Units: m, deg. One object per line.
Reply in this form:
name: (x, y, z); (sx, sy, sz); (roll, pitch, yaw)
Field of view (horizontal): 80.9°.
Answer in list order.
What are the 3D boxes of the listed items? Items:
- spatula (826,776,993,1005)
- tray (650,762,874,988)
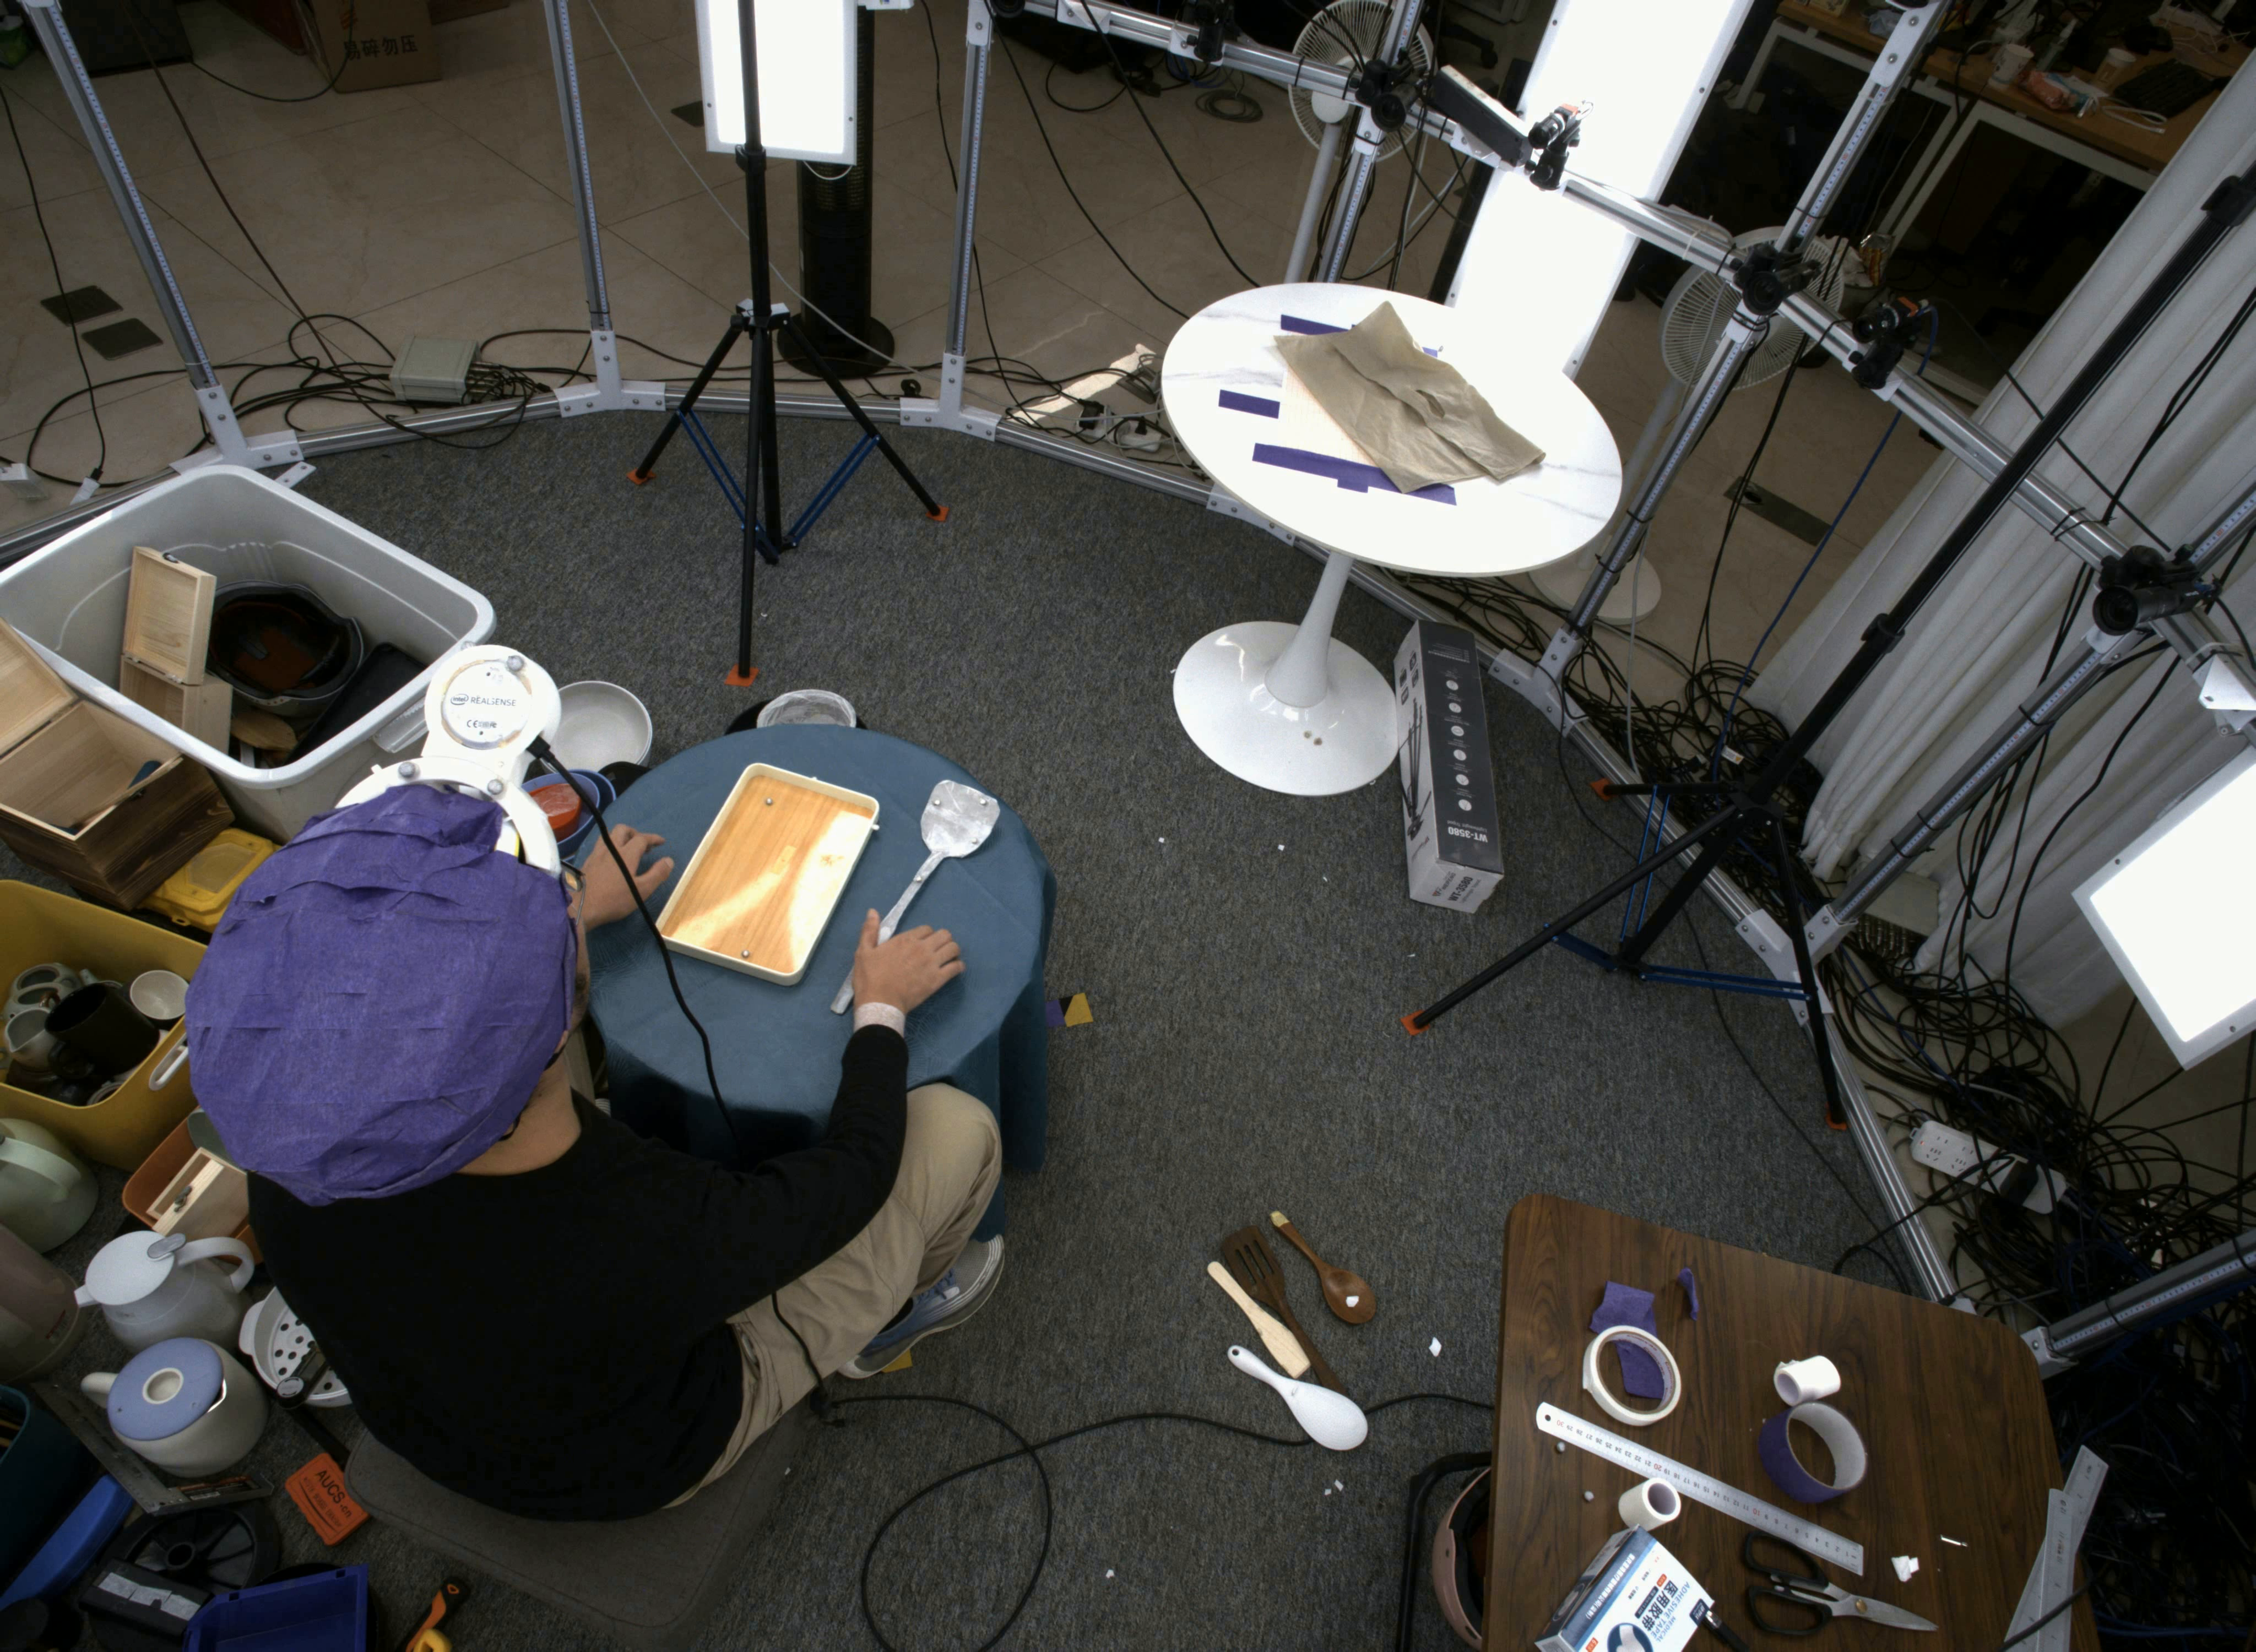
spatula: (-0.288, 0.080, 1.670); (0.097, 0.045, 0.362); (25, 52, 4)
tray: (-0.461, 0.054, 1.651); (0.190, 0.028, 0.297); (18, 52, -1)
